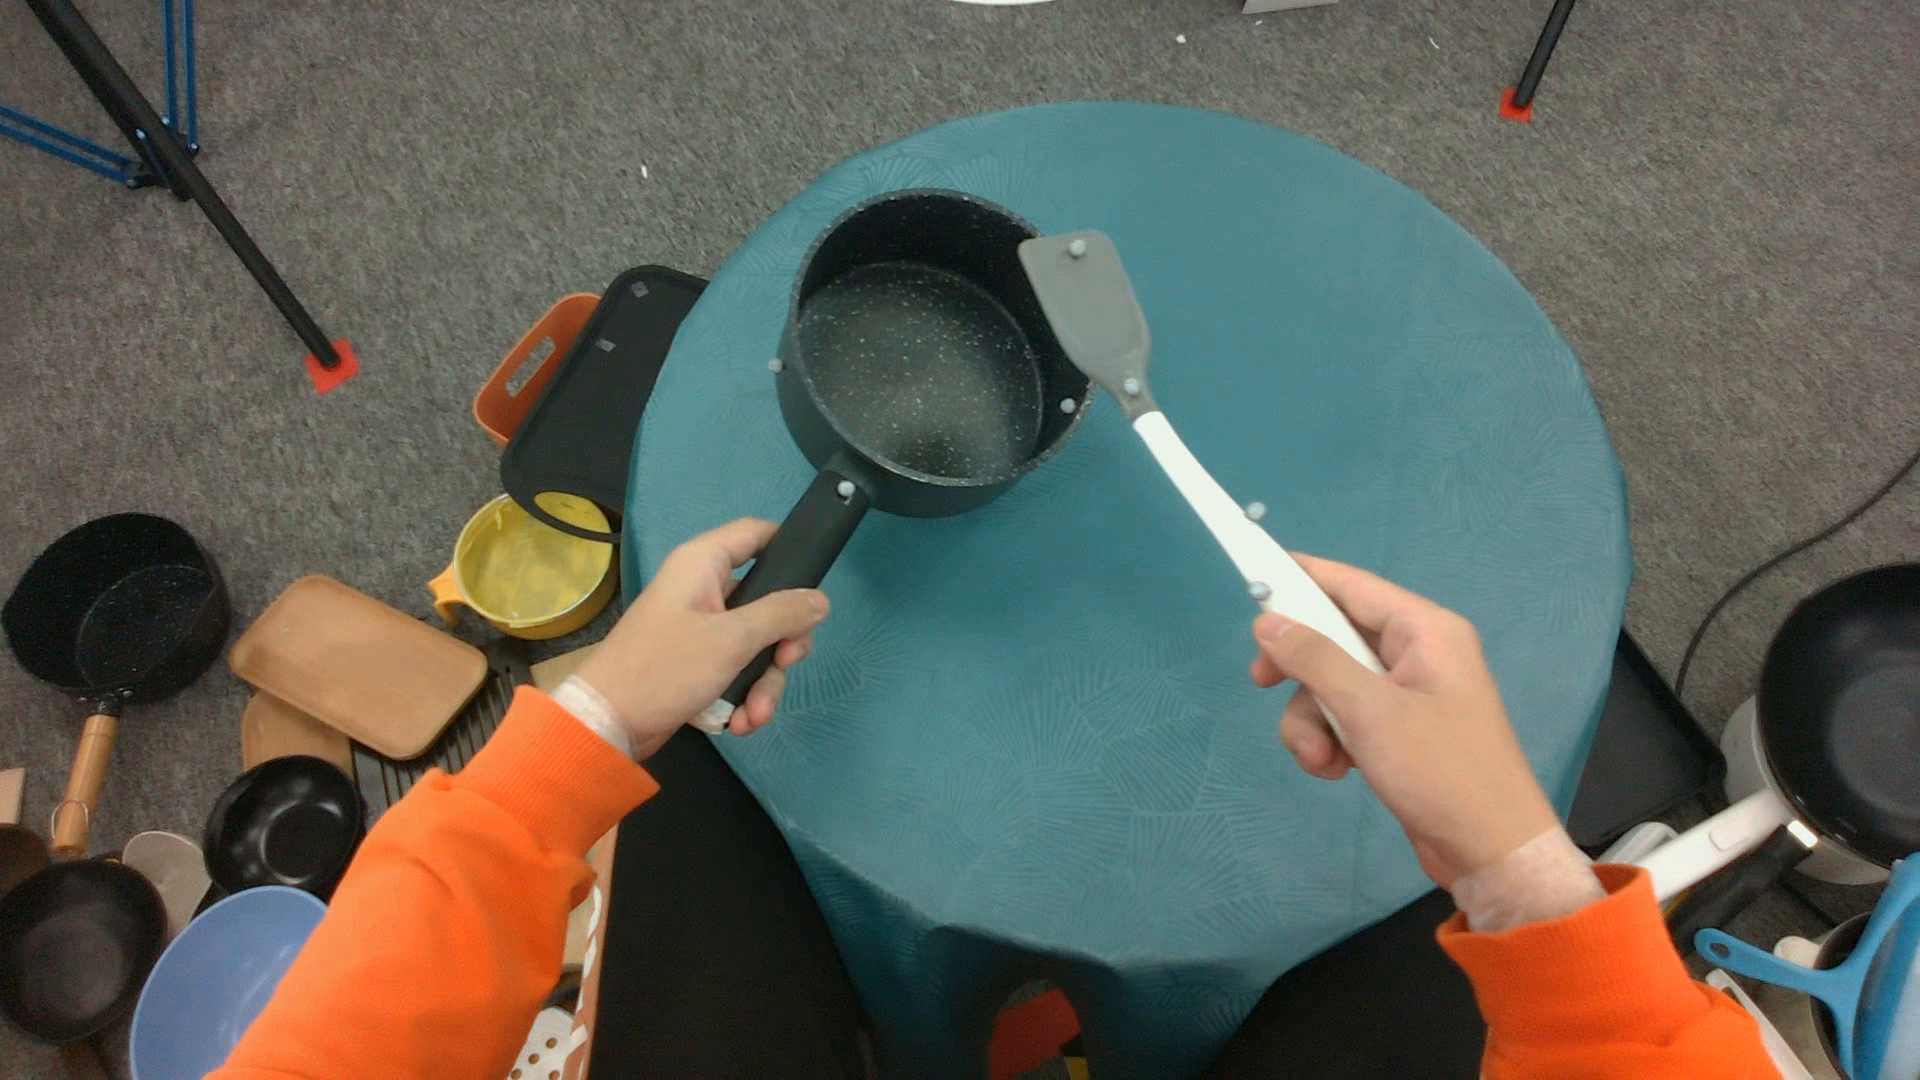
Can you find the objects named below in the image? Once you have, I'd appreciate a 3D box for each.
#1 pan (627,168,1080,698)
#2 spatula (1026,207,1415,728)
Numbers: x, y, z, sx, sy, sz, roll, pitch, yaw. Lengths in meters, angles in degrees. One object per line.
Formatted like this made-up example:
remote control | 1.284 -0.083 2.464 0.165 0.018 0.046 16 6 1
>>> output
pan | -0.065 -0.049 0.720 0.172 0.086 0.330 35 64 -4
spatula | 0.110 -0.045 0.620 0.059 0.032 0.288 -17 60 -19
